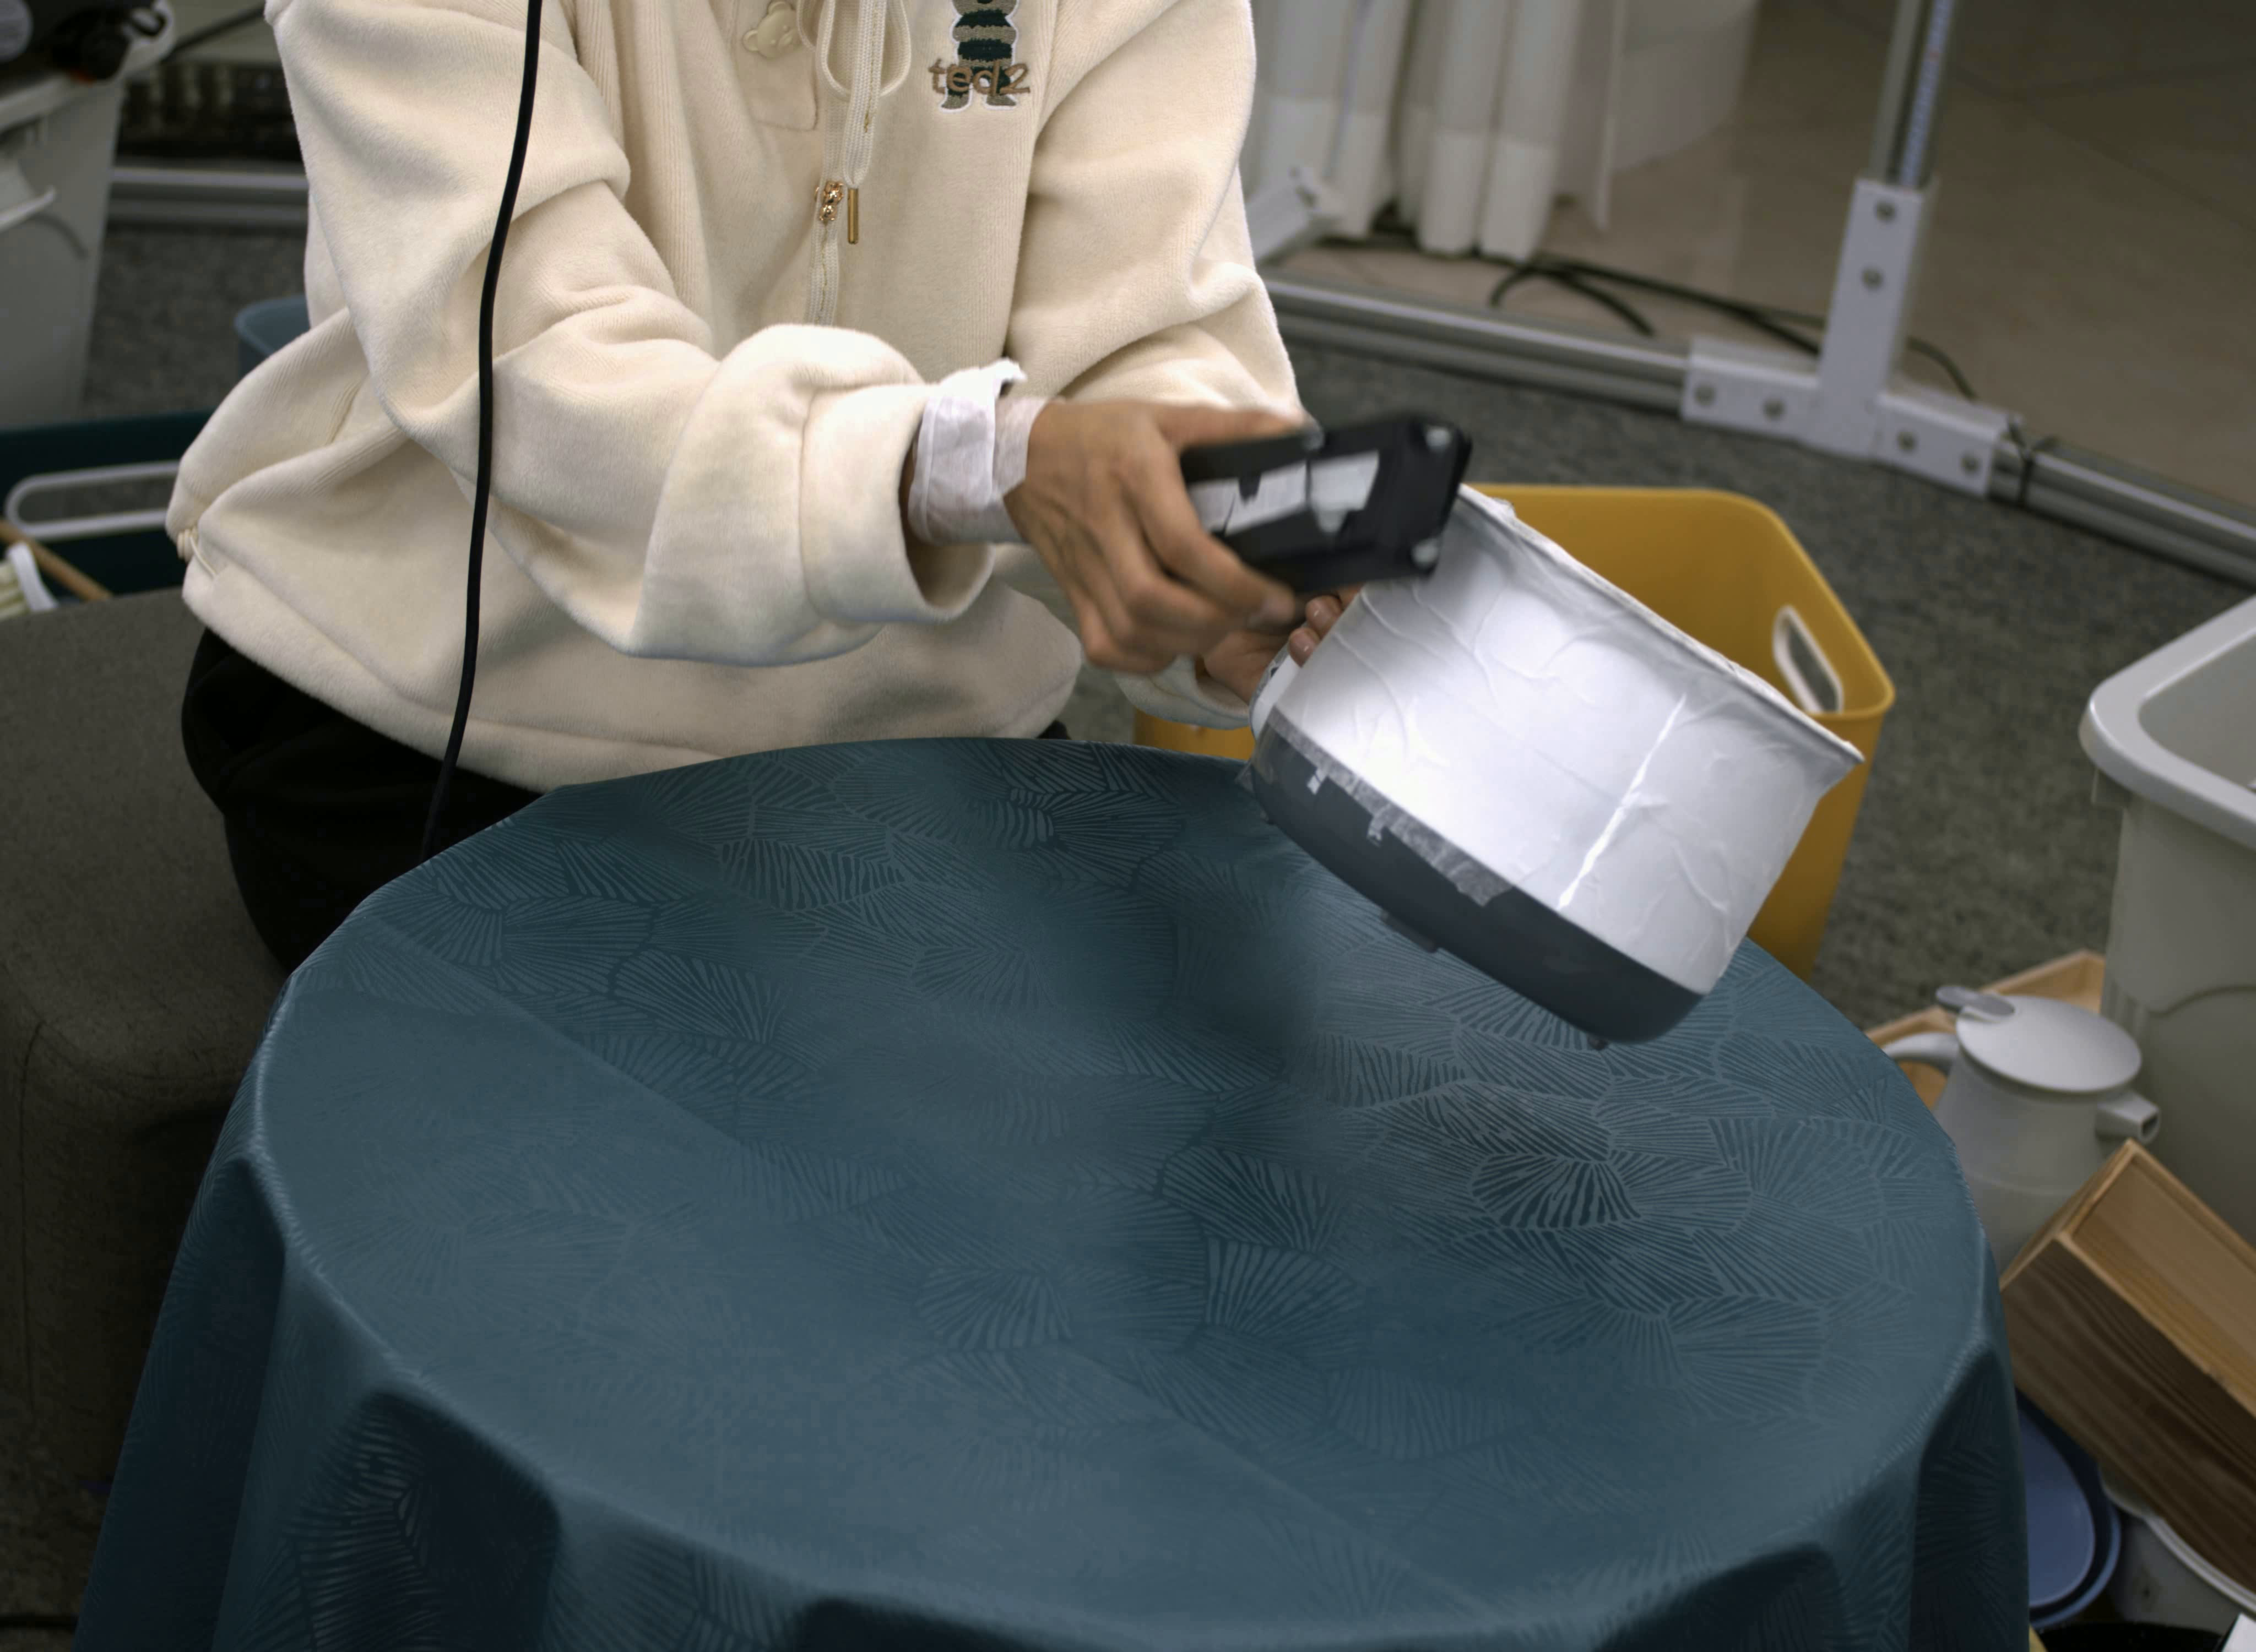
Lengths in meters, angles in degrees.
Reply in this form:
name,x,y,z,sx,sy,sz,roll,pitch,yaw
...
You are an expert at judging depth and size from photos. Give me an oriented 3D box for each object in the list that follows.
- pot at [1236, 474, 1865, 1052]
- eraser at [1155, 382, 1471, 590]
name,x,y,z,sx,sy,sz,roll,pitch,yaw
pot,0.127,-0.030,1.824,0.177,0.136,0.236,30,7,-37
eraser,0.060,-0.112,1.756,0.030,0.054,0.126,26,-18,-31
